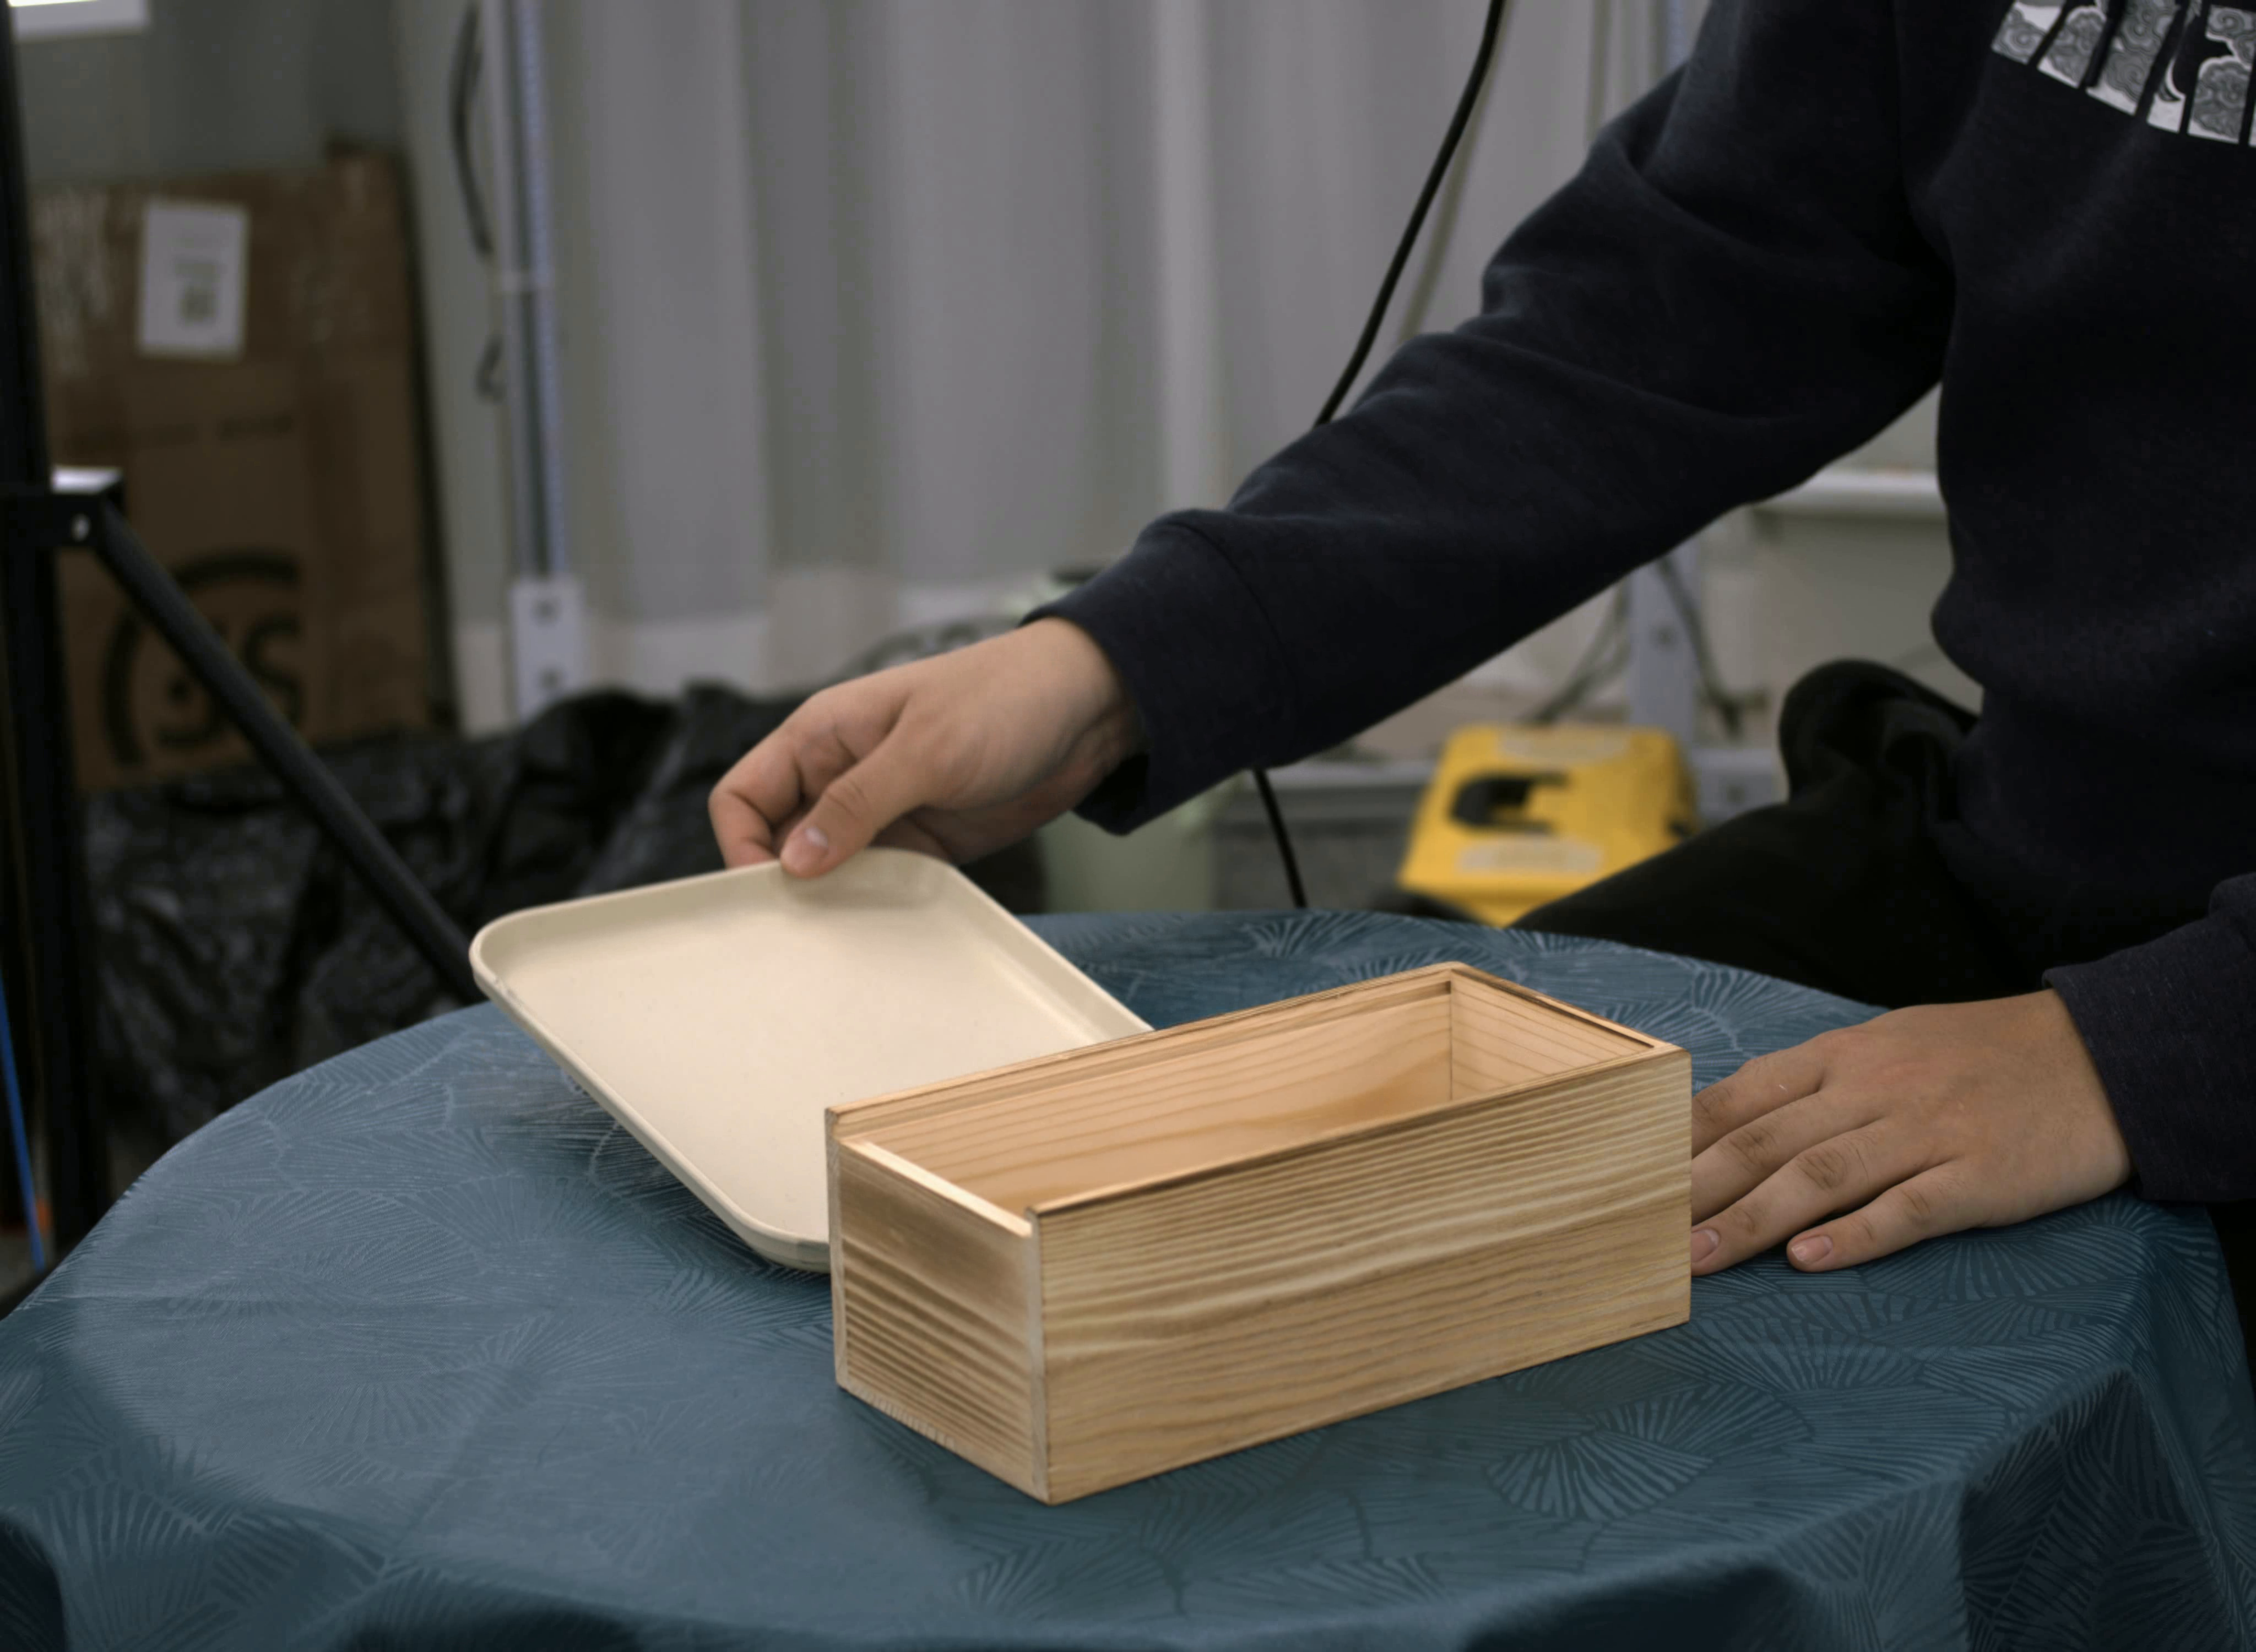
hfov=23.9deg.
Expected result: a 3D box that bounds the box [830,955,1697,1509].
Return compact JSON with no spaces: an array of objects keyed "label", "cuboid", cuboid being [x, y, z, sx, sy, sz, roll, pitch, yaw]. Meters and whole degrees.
[{"label":"box","cuboid":[0.038,0.104,1.418,0.206,0.080,0.110,-12,19,-31]}]

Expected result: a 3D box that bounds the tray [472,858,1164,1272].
[{"label":"tray","cuboid":[-0.082,0.070,1.612,0.167,0.017,0.245,-11,26,-28]}]
